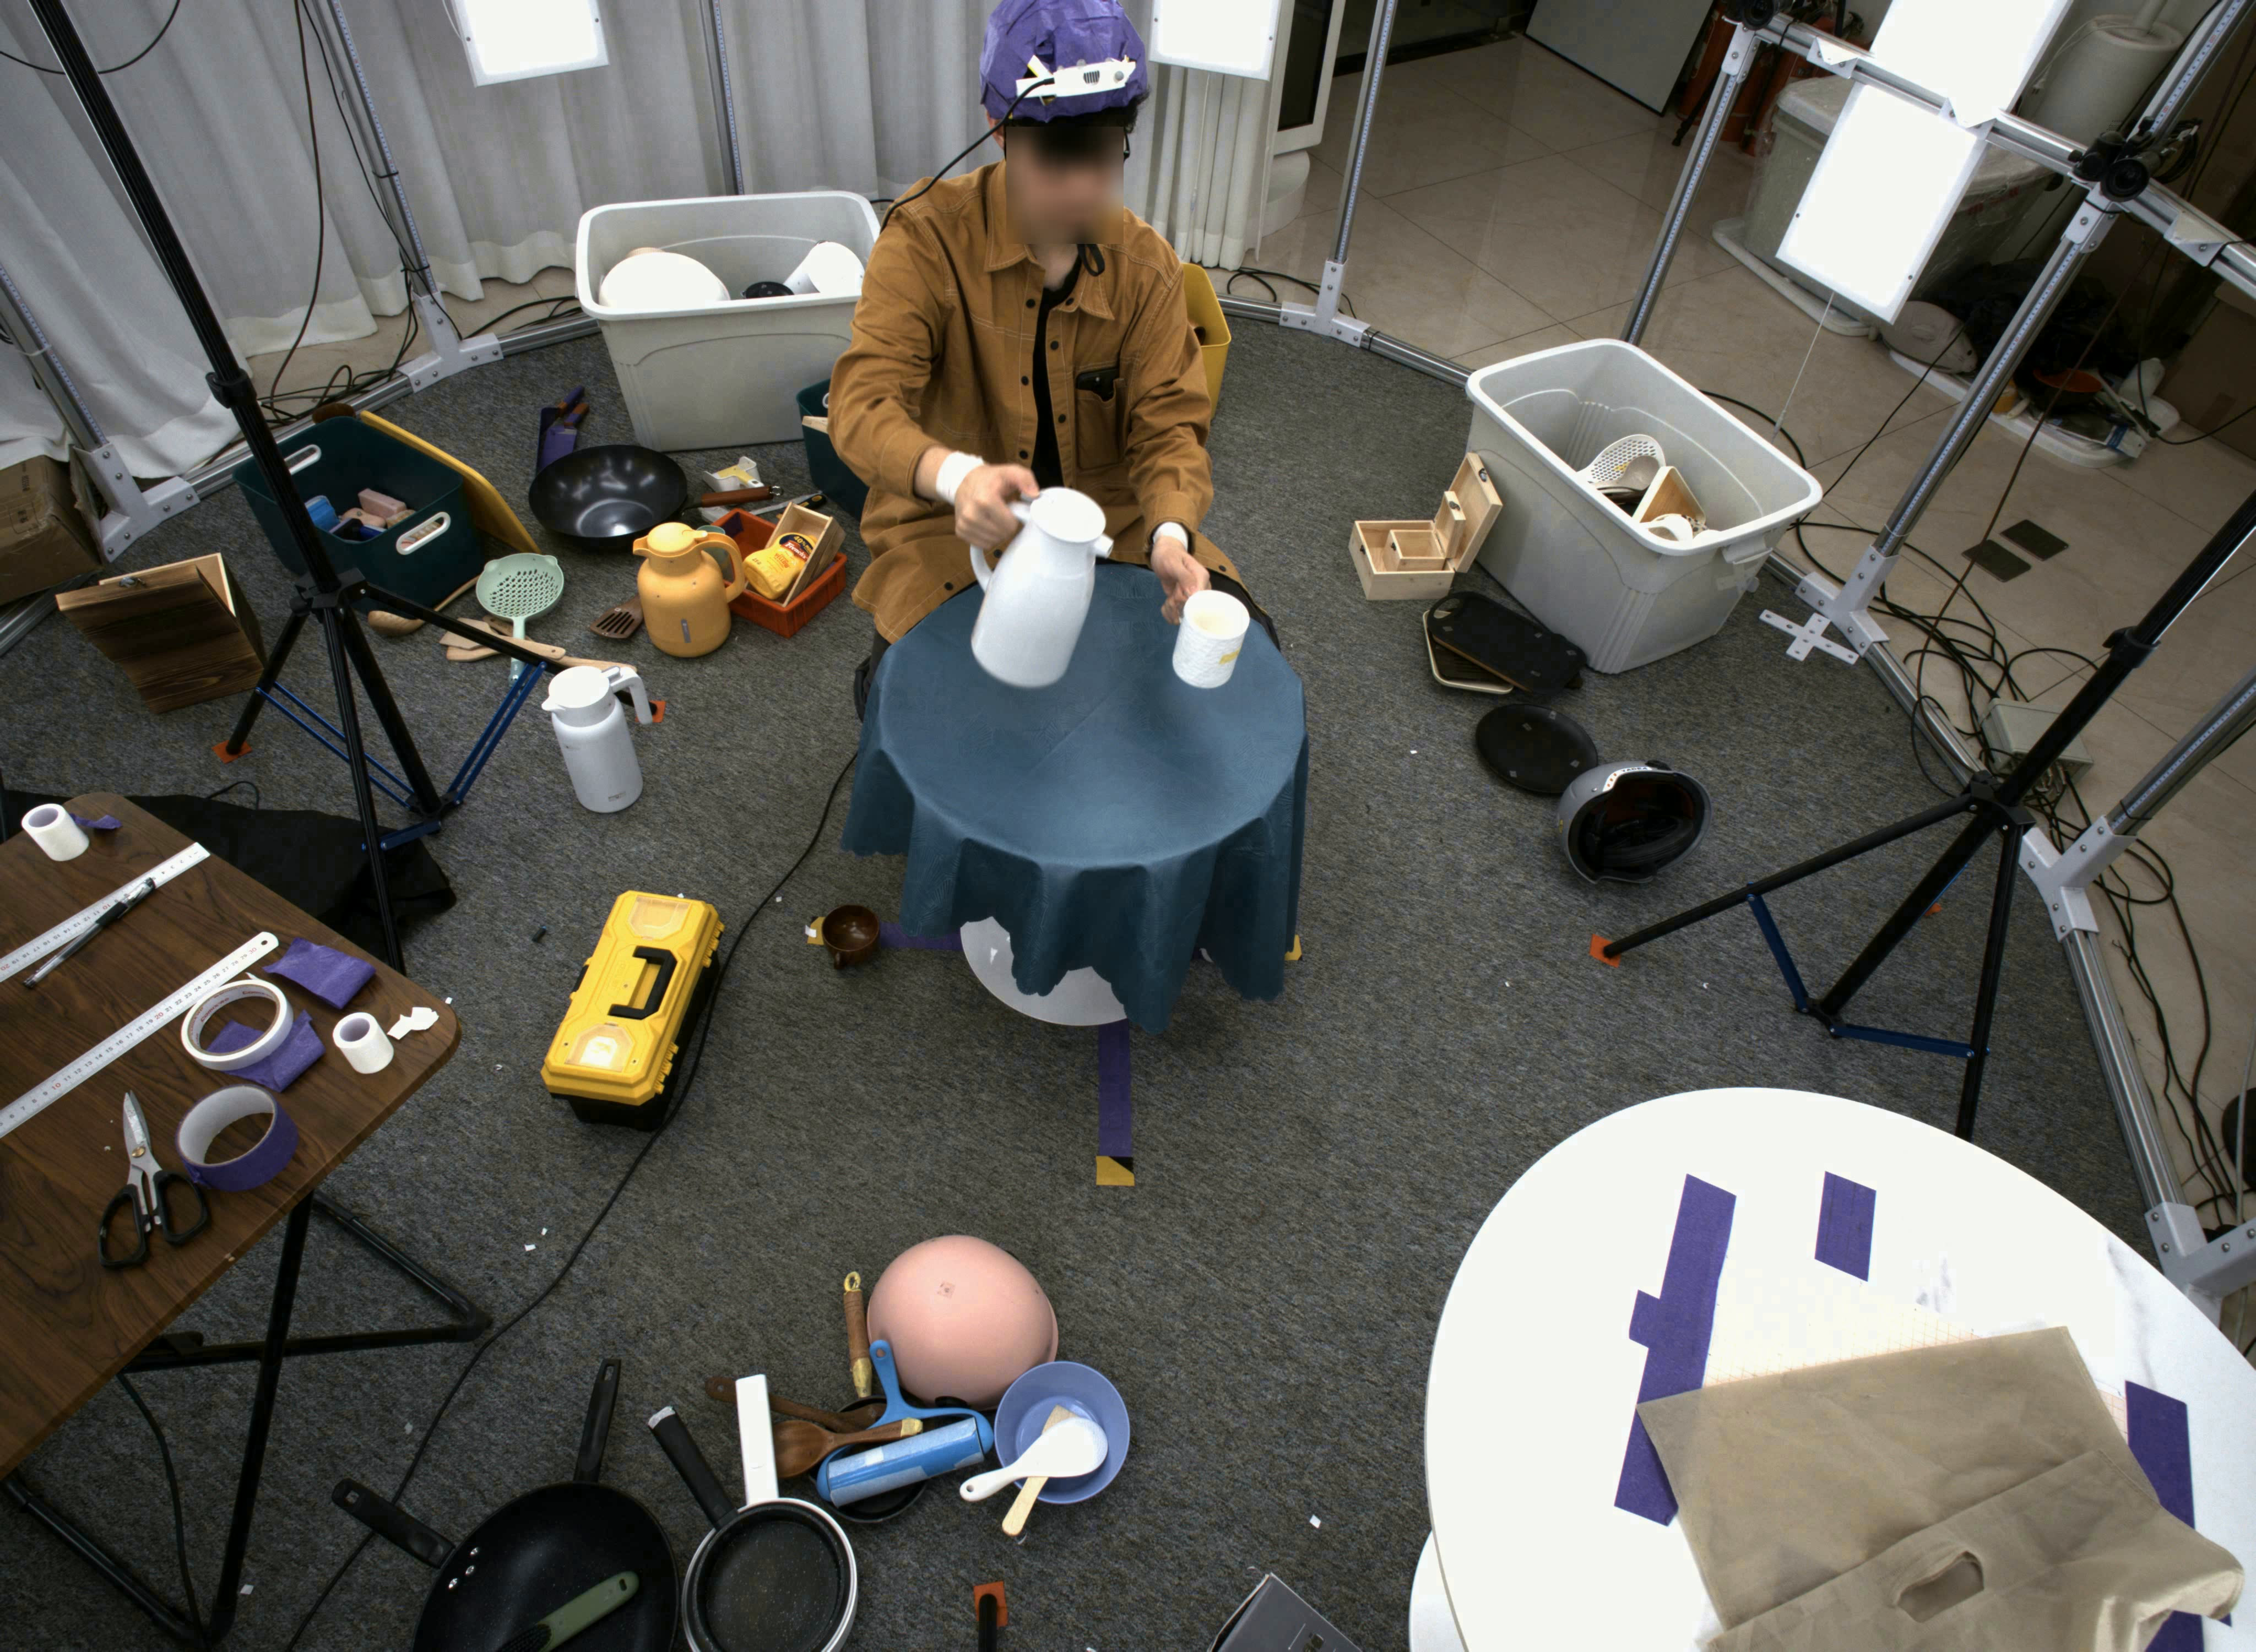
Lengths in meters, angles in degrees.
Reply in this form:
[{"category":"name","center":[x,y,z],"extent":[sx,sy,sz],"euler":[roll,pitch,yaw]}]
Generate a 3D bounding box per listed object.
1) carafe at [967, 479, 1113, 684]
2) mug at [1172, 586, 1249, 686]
[{"category":"carafe","center":[-0.124,-0.313,1.594],"extent":[0.167,0.243,0.135],"euler":[26,49,-1]},{"category":"mug","center":[0.099,-0.259,1.698],"extent":[0.085,0.099,0.120],"euler":[-19,57,-25]}]
